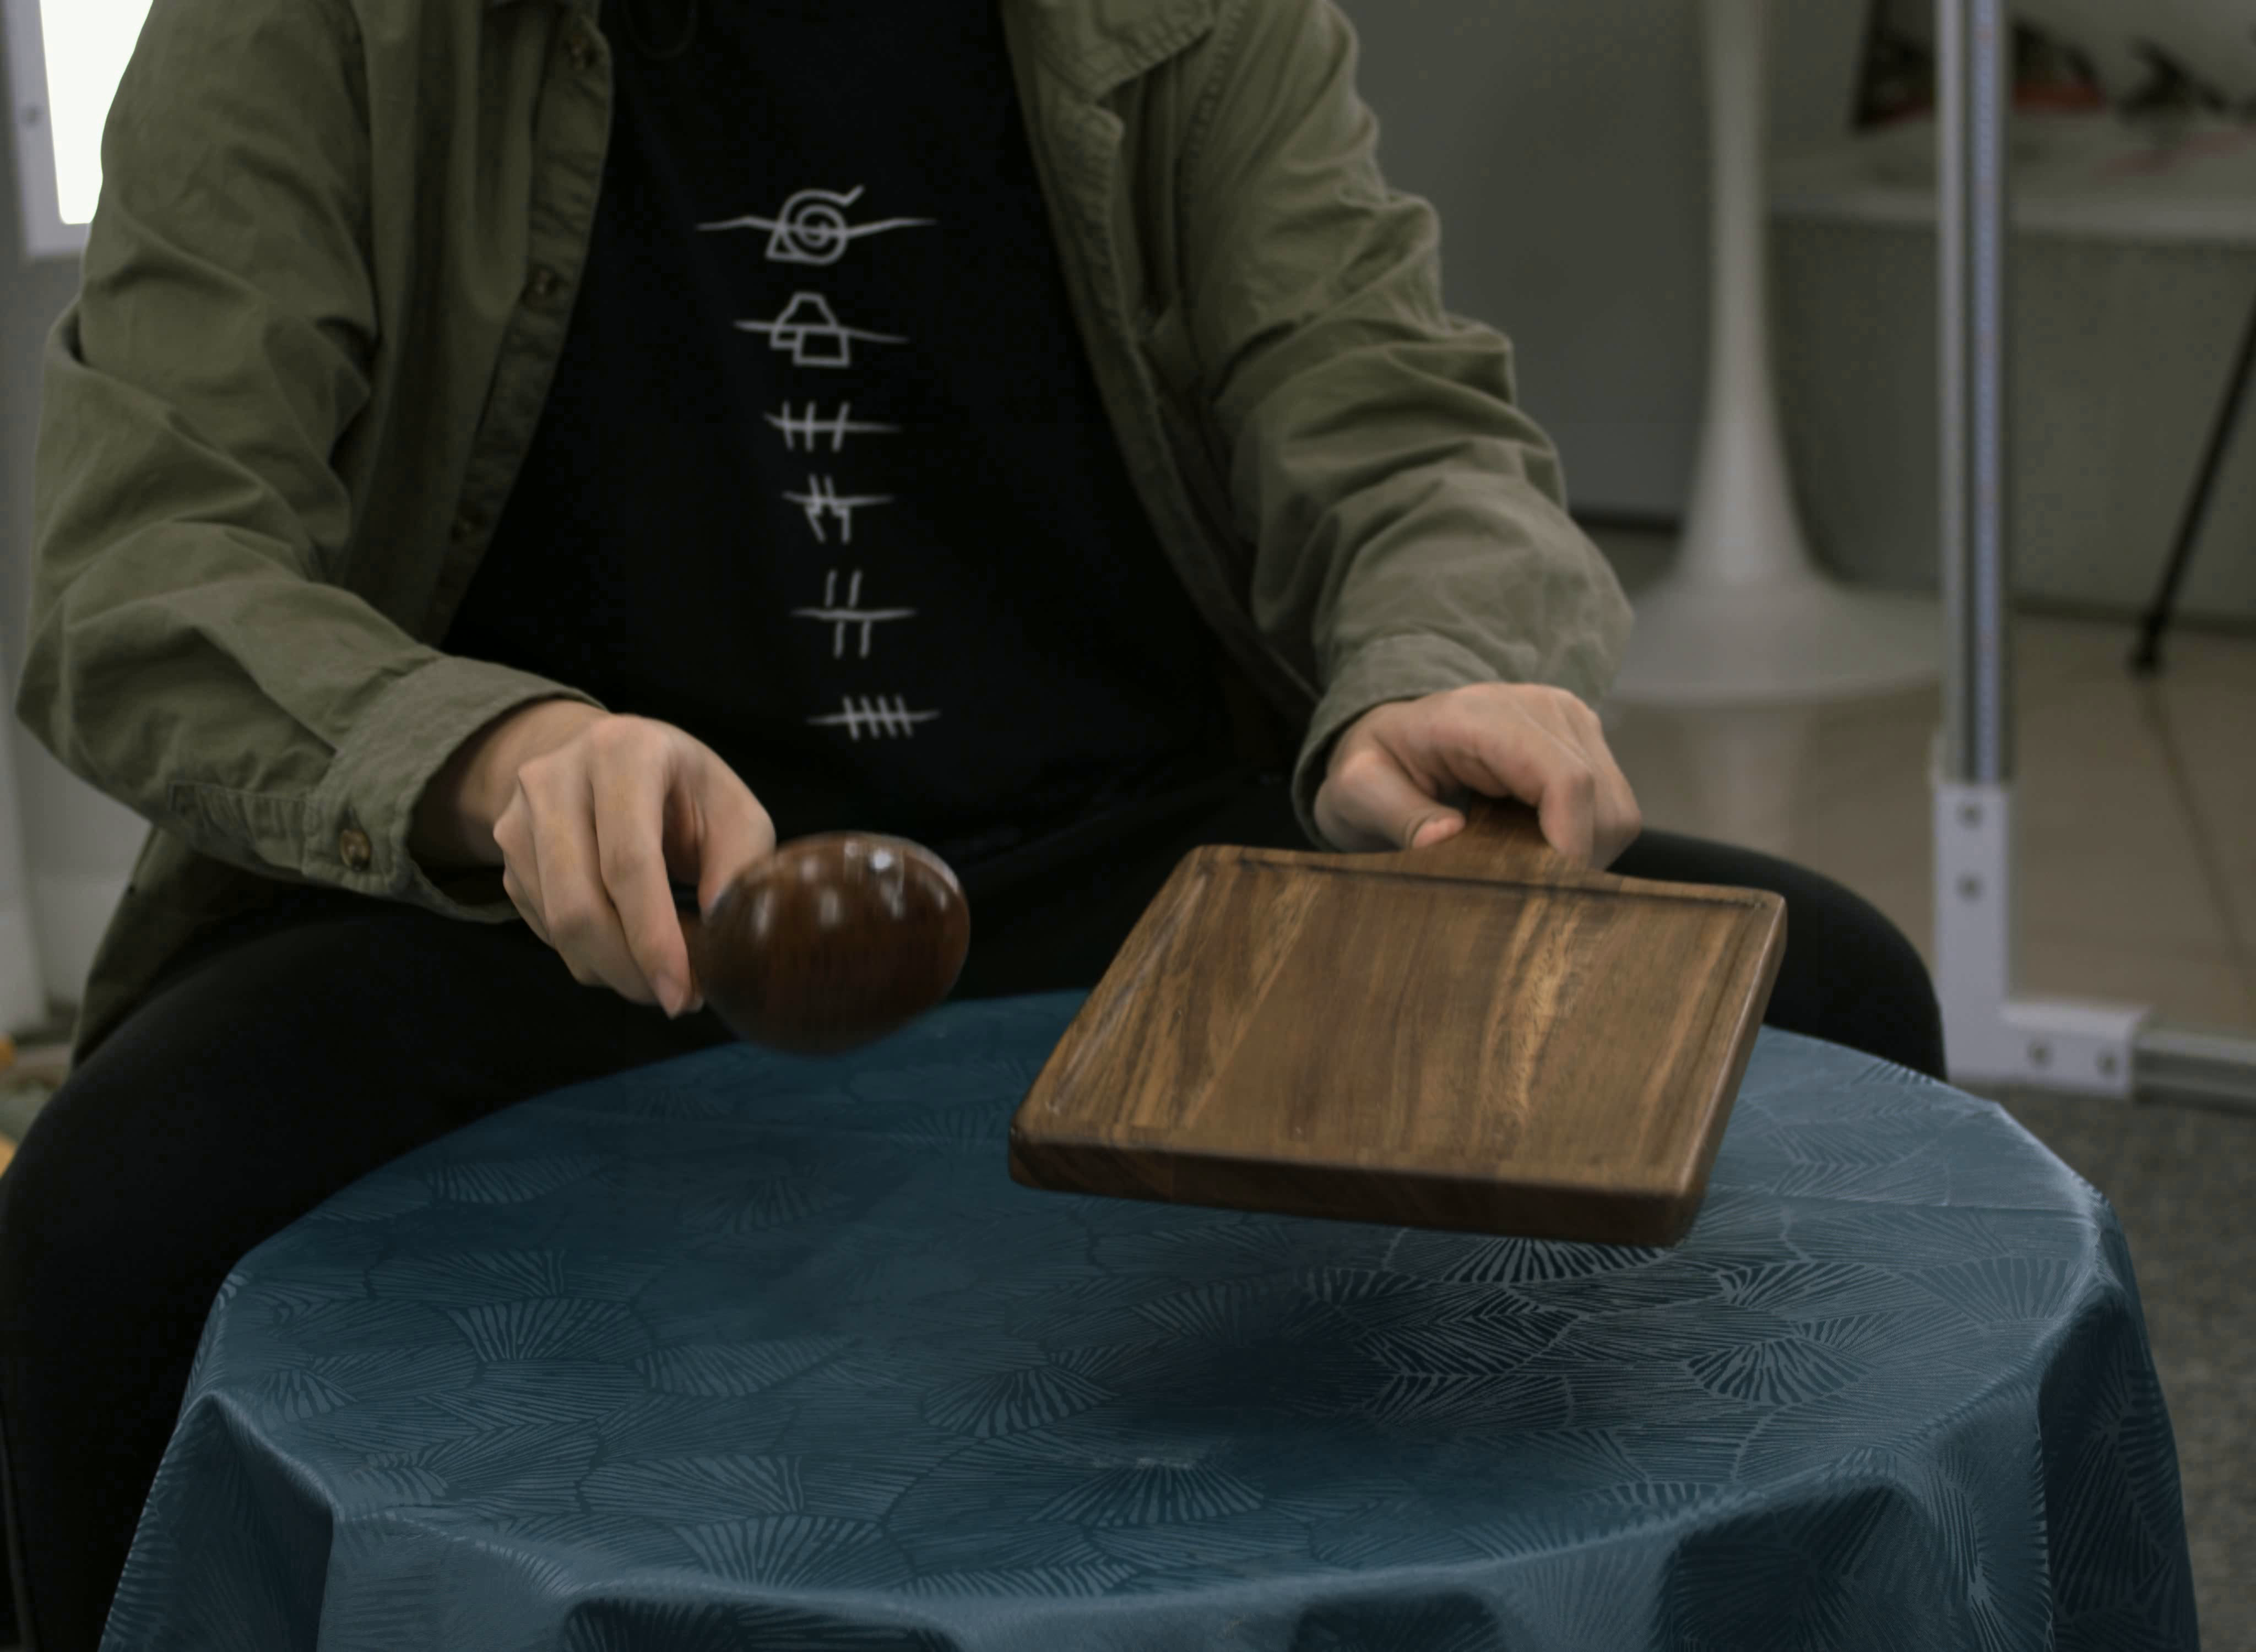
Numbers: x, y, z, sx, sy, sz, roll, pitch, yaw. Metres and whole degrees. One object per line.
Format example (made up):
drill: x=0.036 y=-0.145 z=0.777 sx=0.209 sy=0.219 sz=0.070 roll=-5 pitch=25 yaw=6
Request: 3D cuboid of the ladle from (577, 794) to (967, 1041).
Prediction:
ladle: x=-0.122 y=0.014 z=1.636 sx=0.080 sy=0.077 sz=0.276 roll=10 pitch=4 yaw=-20

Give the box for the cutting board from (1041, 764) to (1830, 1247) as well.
cutting board: x=0.110 y=0.044 z=1.645 sx=0.200 sy=0.023 sz=0.350 roll=5 pitch=20 yaw=15
